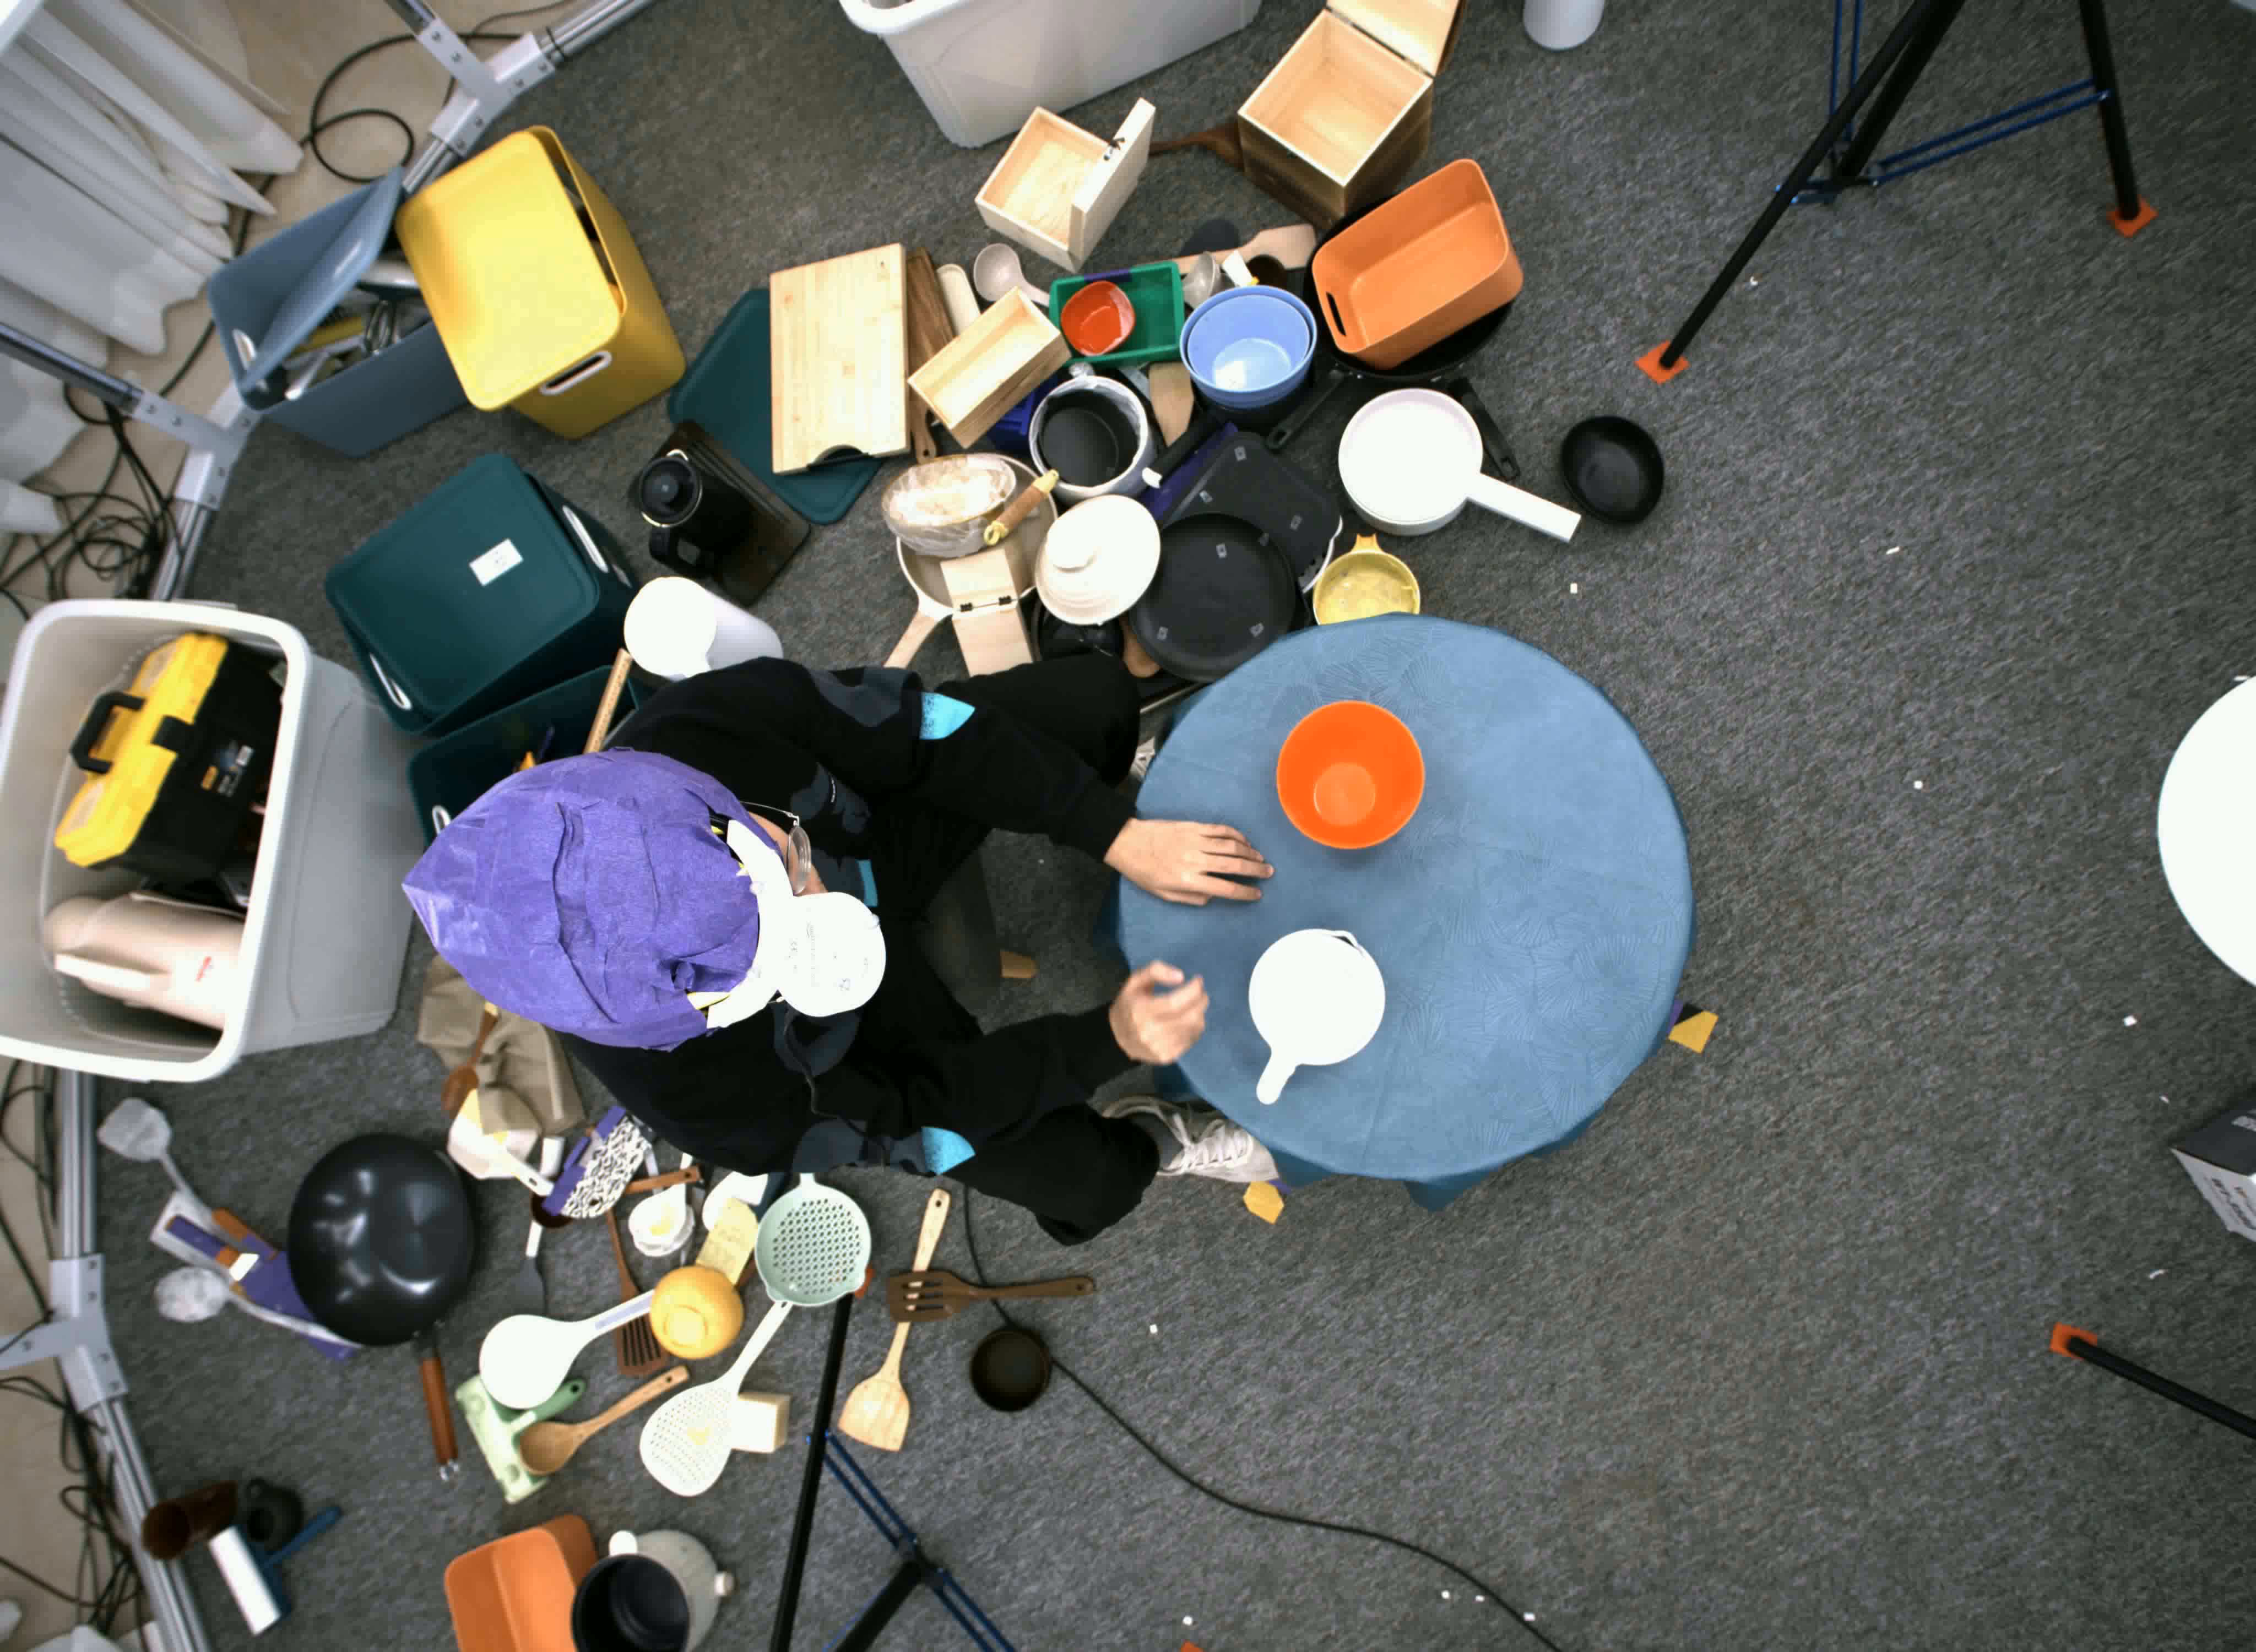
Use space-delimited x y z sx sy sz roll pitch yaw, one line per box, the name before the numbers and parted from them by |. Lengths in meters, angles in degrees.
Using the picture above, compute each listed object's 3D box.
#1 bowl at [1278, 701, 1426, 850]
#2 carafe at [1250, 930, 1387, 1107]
bowl | 0.230 -0.047 1.418 0.148 0.105 0.147 -1 86 10
carafe | 0.181 0.191 1.380 0.132 0.182 0.191 25 93 12
